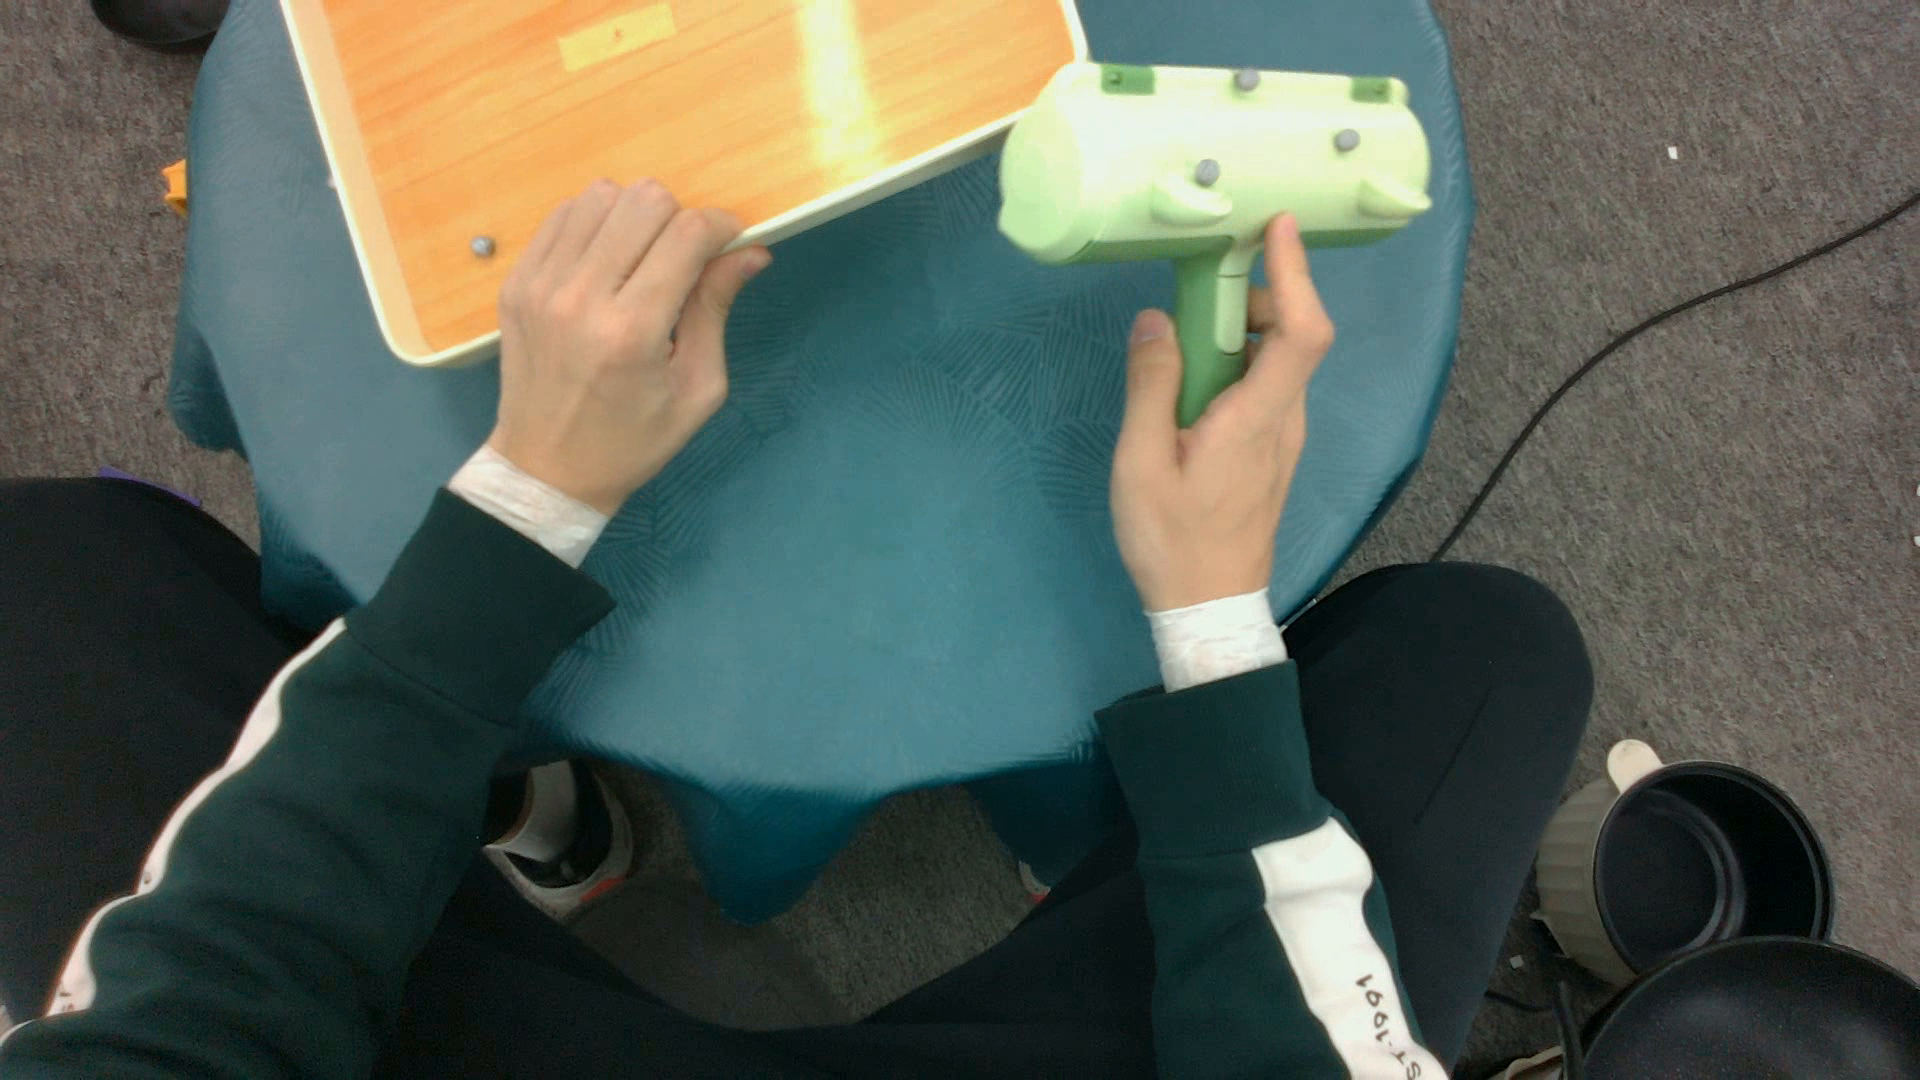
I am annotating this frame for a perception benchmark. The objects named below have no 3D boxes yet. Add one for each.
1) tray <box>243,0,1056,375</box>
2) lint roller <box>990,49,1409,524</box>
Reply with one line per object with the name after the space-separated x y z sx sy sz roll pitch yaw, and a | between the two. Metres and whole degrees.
-0.129 -0.203 0.541 0.300 0.027 0.191 -20 88 11 | tray
0.104 -0.091 0.540 0.199 0.082 0.183 -12 106 -38 | lint roller
